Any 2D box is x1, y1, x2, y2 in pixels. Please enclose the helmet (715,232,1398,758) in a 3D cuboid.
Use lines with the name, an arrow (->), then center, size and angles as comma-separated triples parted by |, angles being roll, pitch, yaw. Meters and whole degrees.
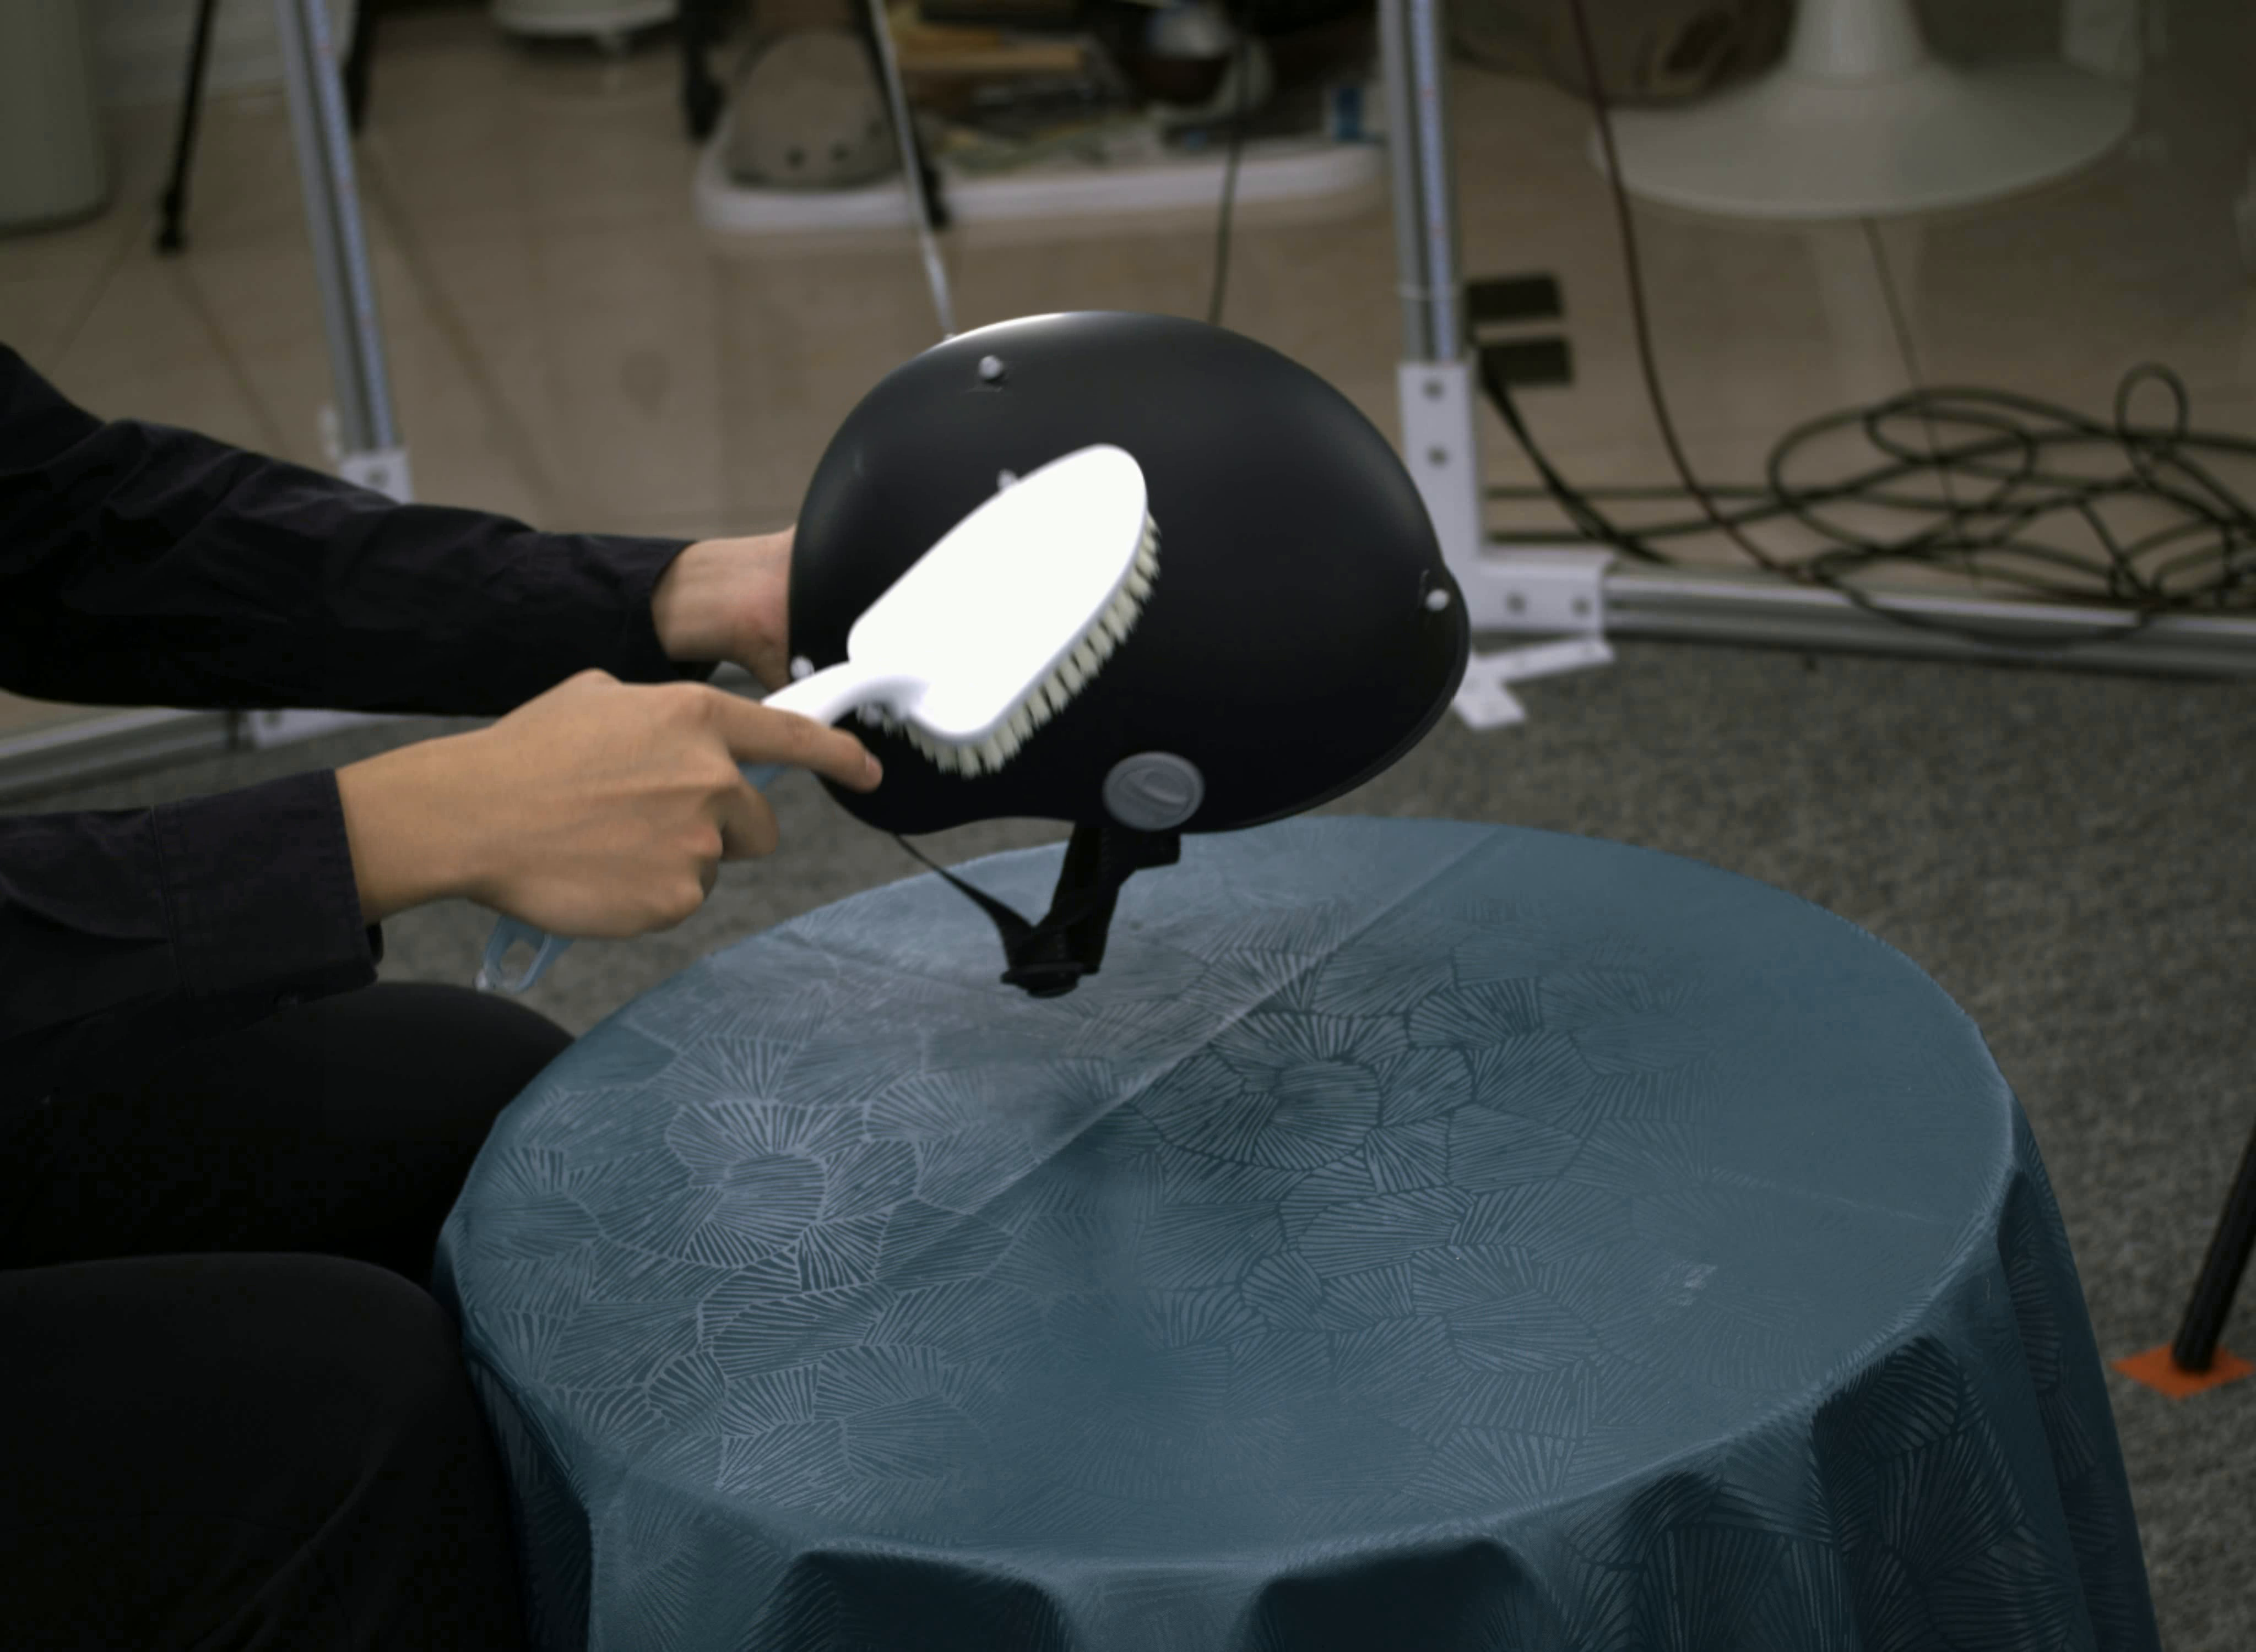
helmet -> -0.041, -0.142, 2.209 | 0.272, 0.170, 0.226 | 0, 46, 21

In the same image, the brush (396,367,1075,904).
brush -> -0.141, -0.057, 2.047 | 0.322, 0.086, 0.082 | -40, 28, -25
